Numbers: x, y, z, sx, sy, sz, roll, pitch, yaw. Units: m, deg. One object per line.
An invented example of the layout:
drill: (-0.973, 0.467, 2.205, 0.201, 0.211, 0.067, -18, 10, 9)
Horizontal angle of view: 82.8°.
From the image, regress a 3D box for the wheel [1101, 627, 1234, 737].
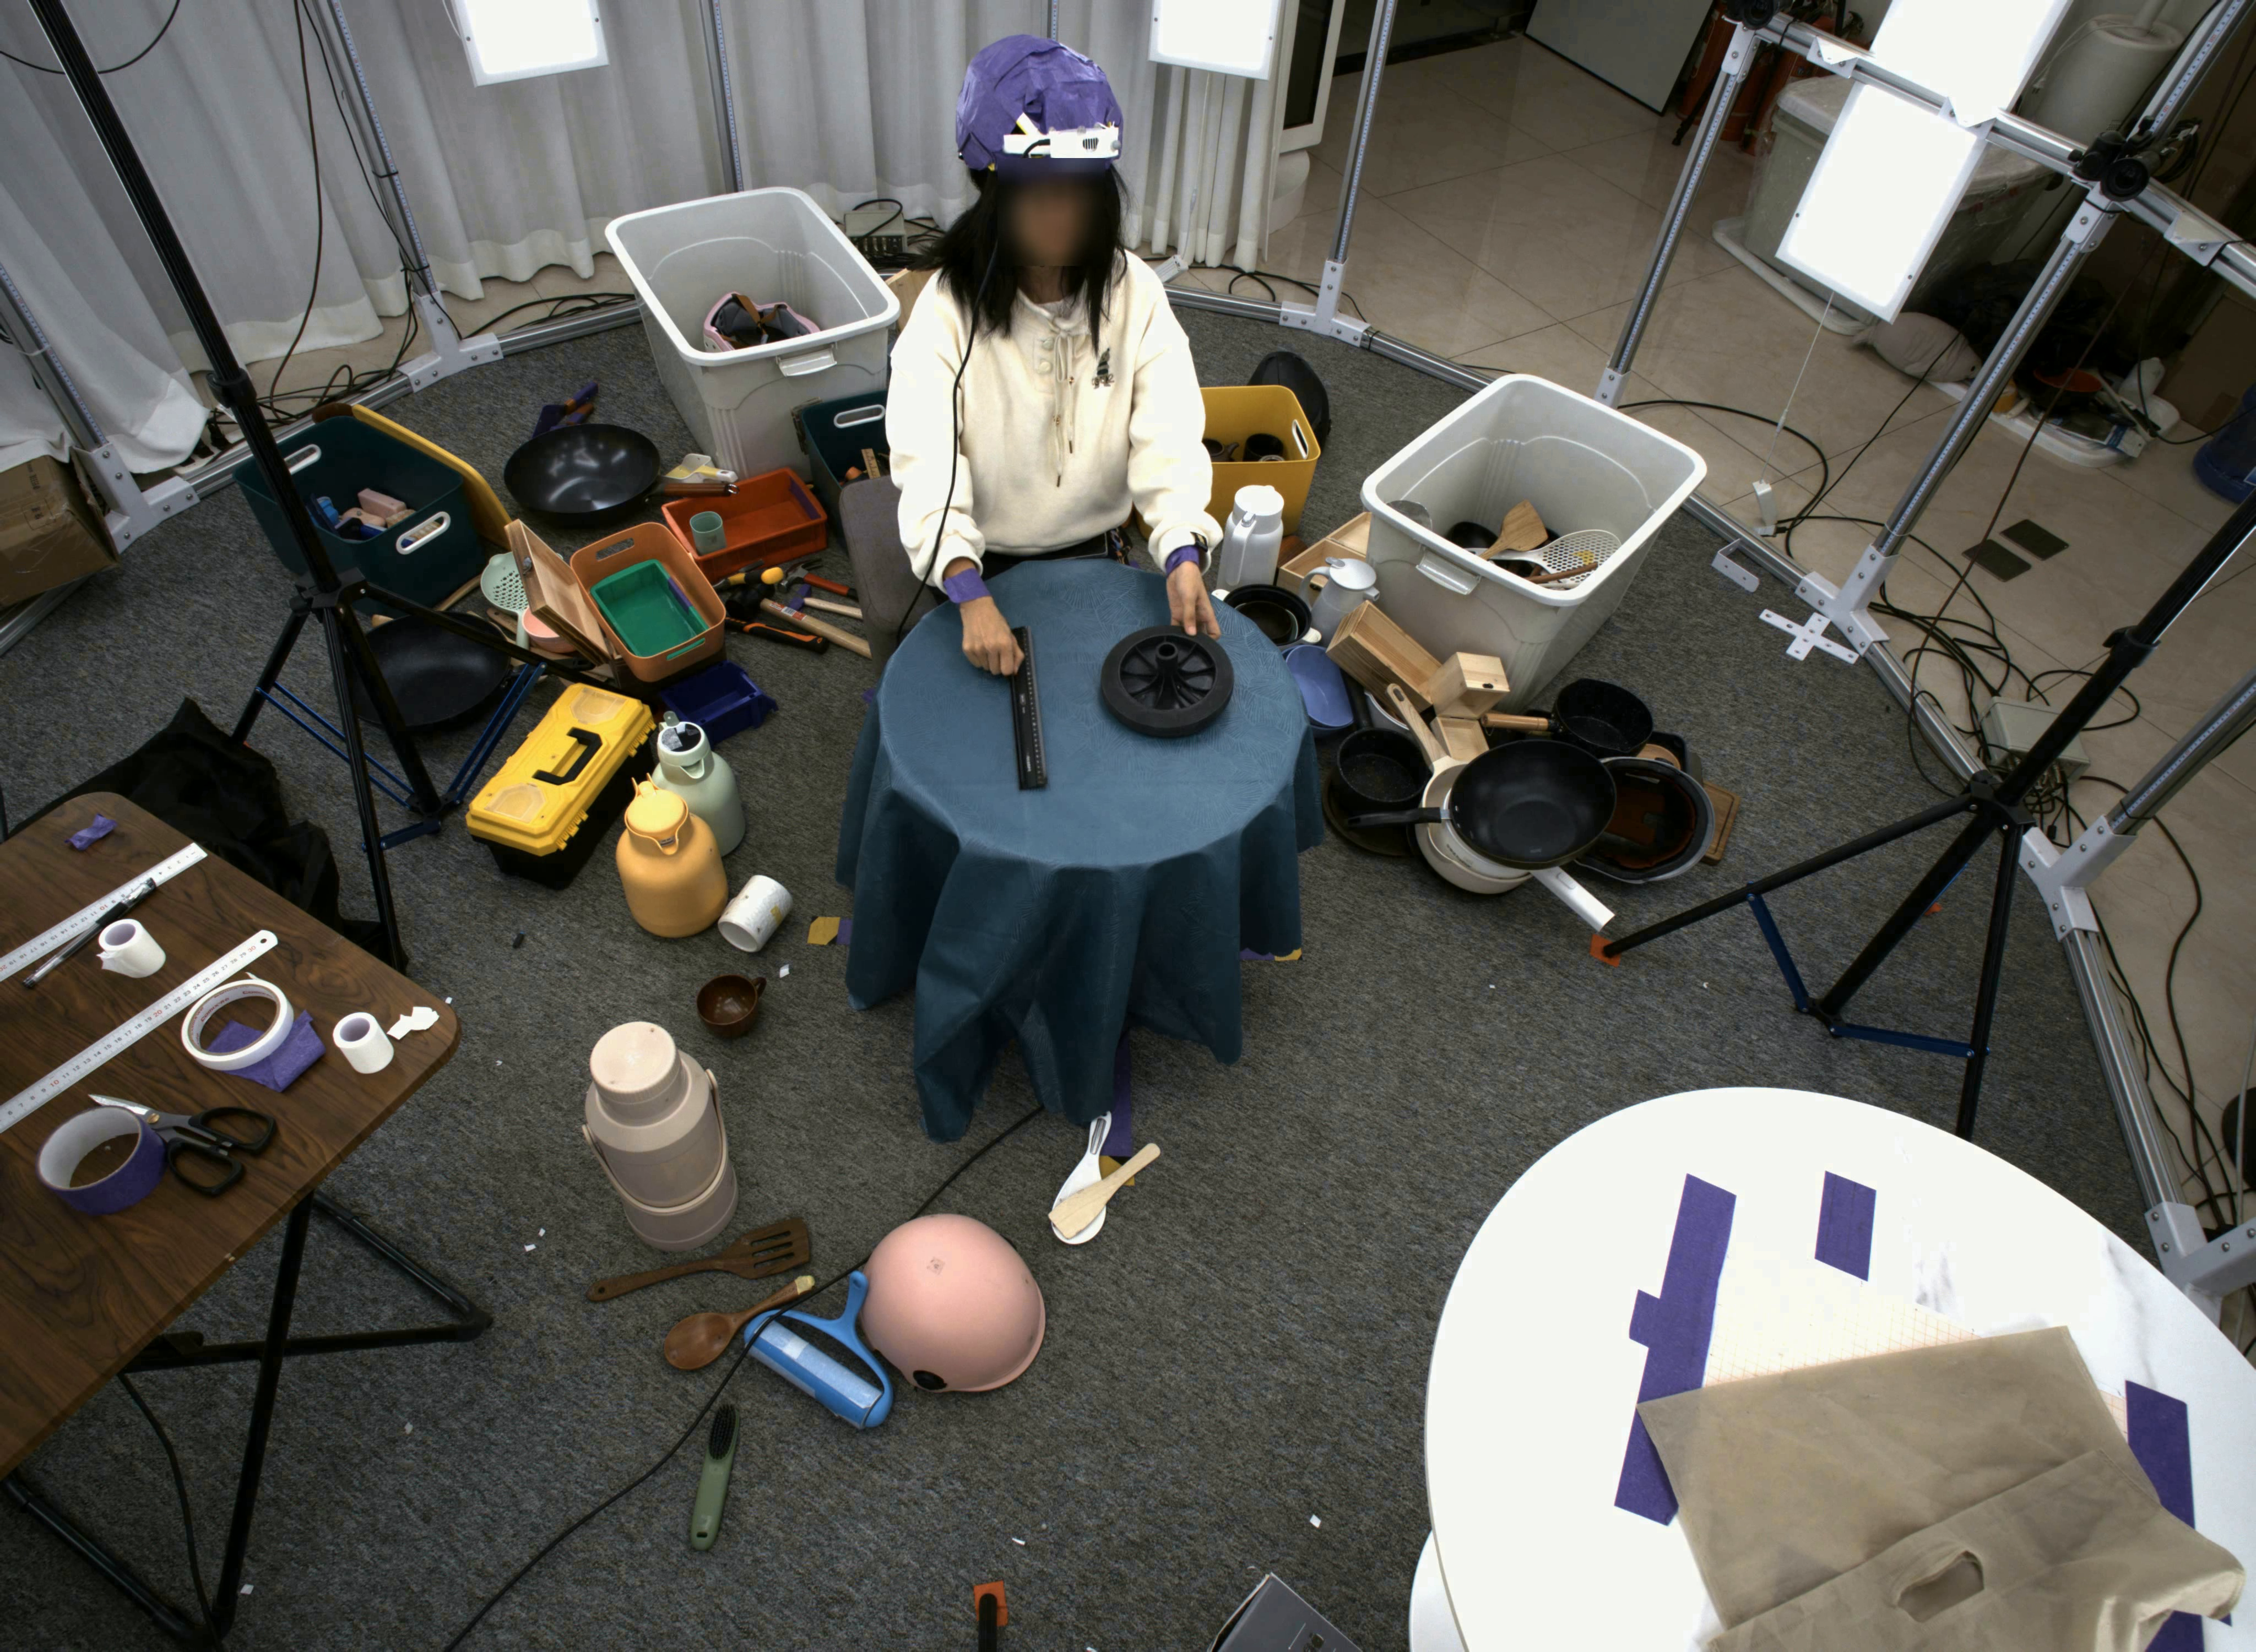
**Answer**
wheel: (0.056, -0.218, 1.805, 0.191, 0.077, 0.190, 21, 59, 16)

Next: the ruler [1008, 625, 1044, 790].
ruler: (-0.144, -0.174, 1.797, 0.039, 0.017, 0.320, -6, 50, -1)
